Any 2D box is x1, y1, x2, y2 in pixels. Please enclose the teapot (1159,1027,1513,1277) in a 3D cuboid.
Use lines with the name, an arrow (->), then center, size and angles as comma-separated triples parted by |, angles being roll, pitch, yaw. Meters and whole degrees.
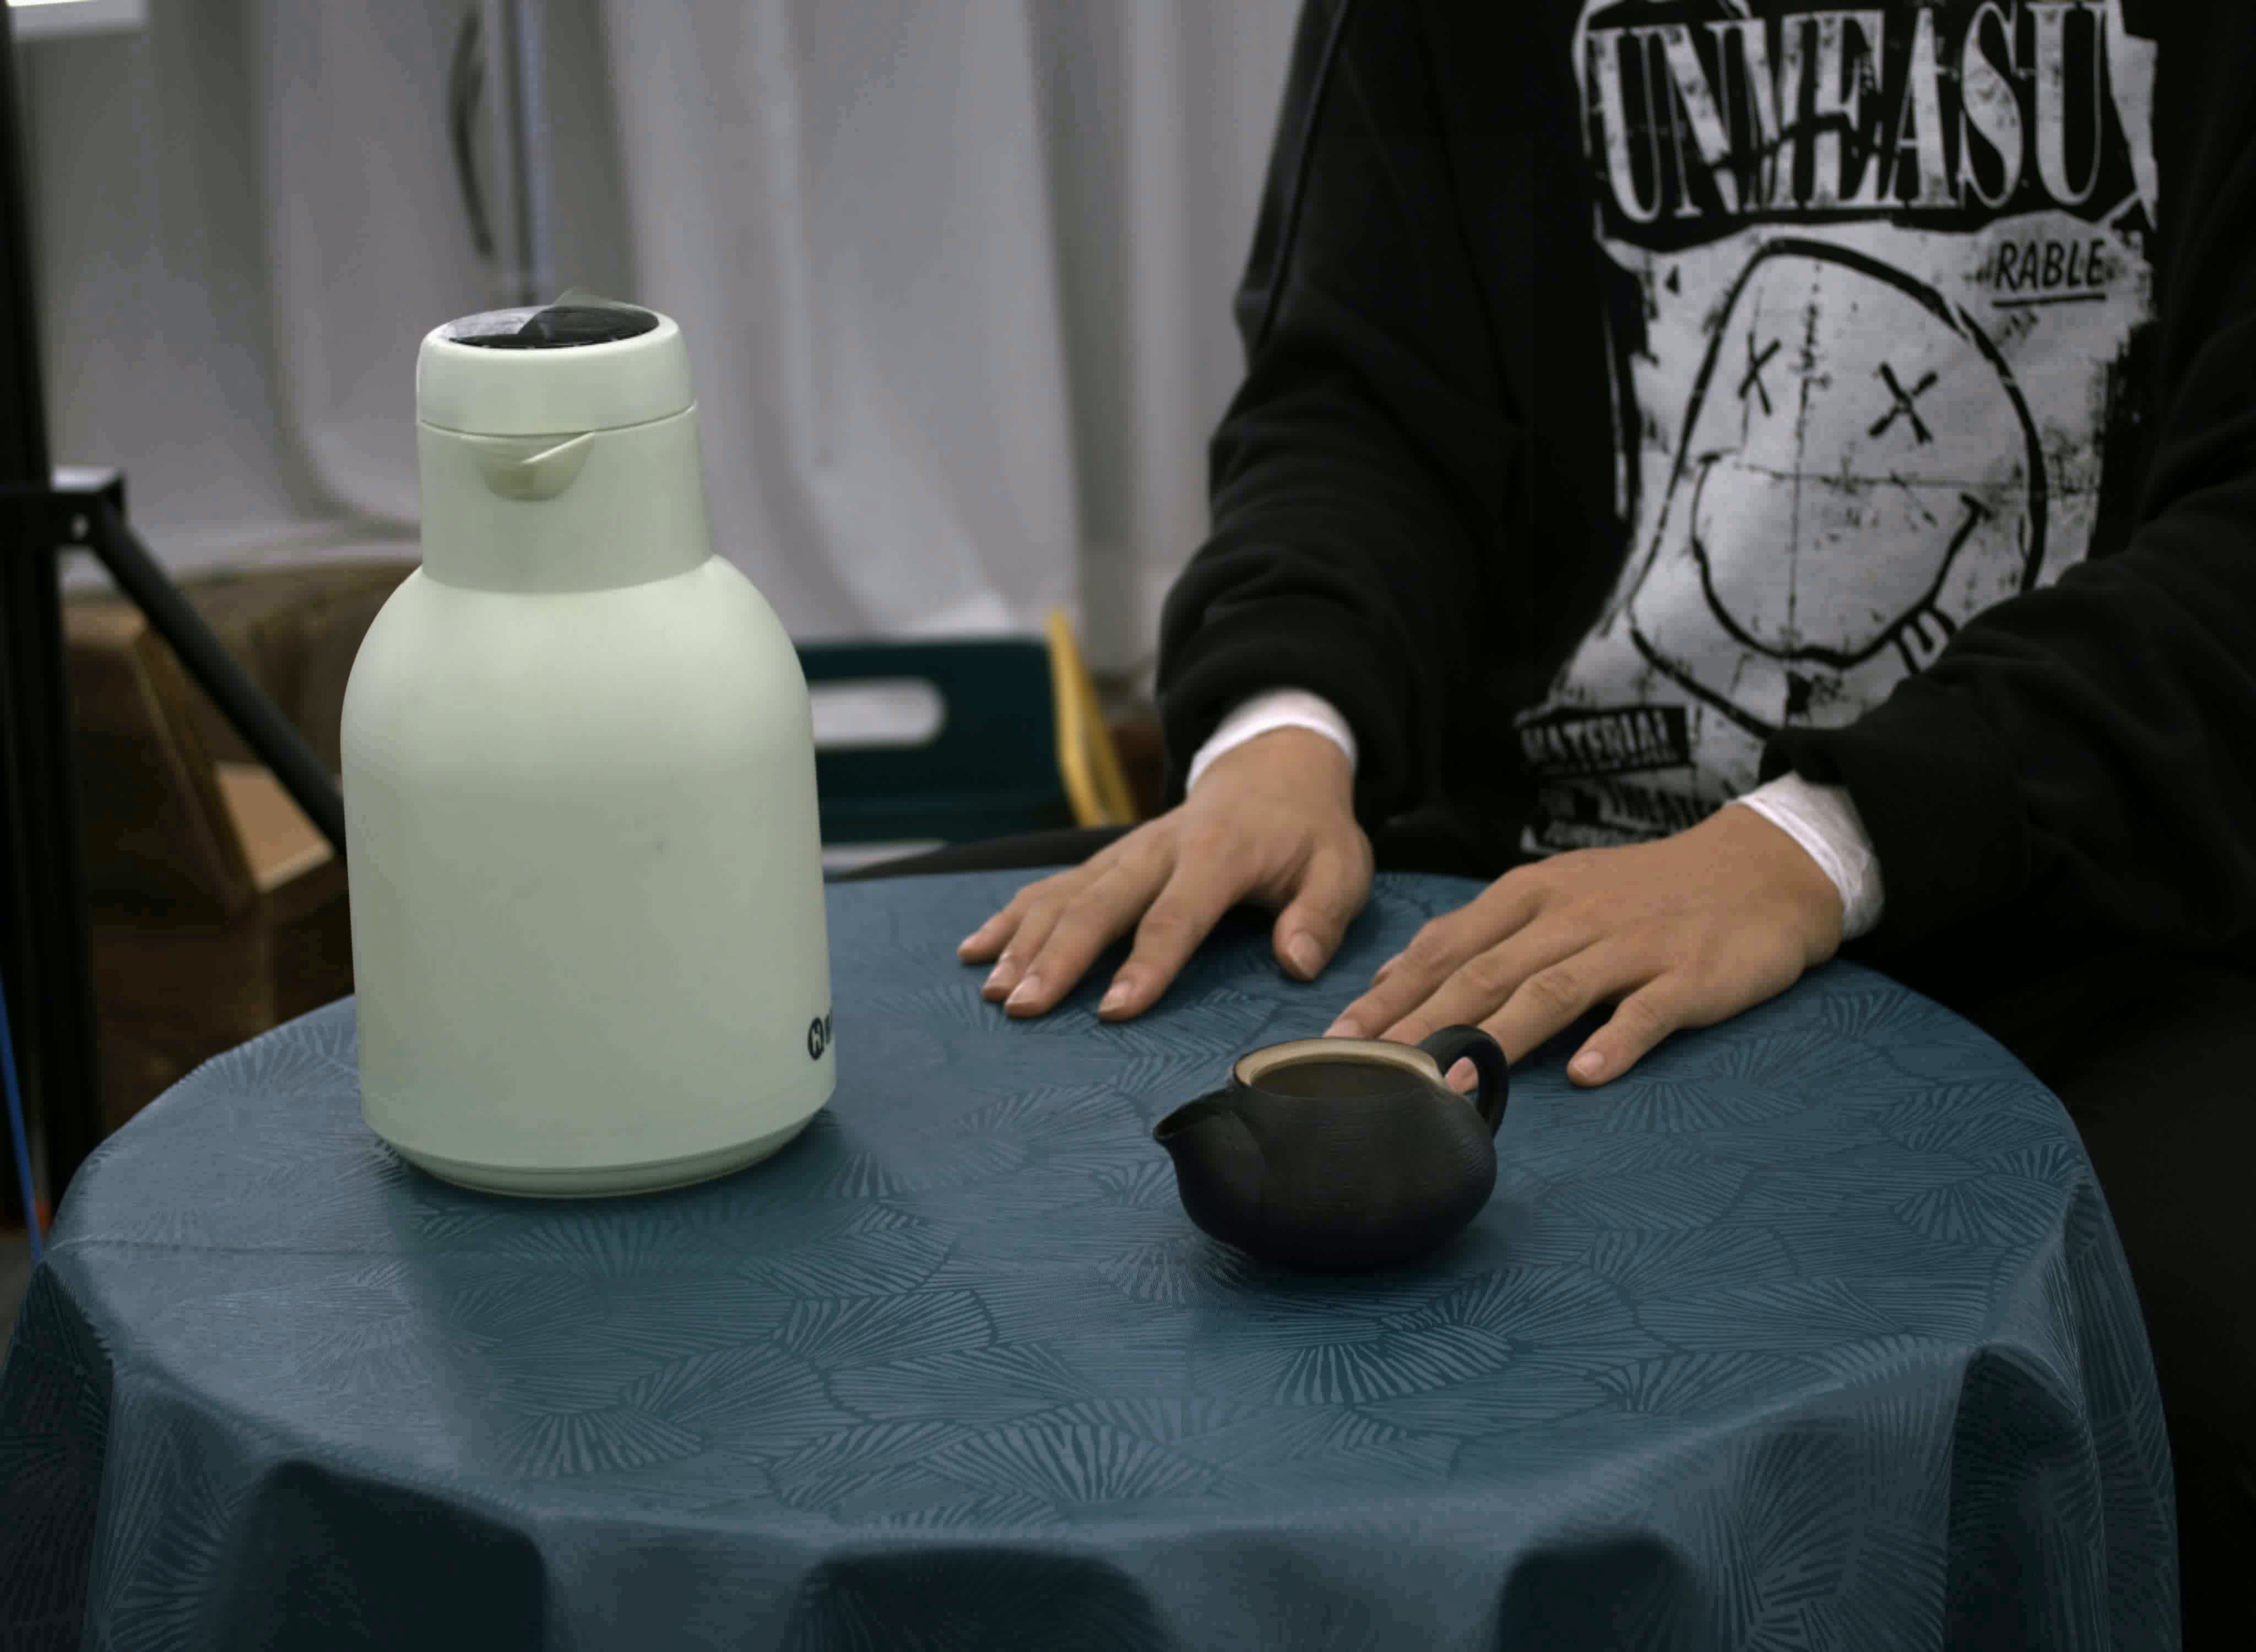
teapot -> 0.061, 0.093, 1.498 | 0.130, 0.053, 0.093 | -15, 22, -38

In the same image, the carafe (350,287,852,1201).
carafe -> -0.160, -0.029, 1.611 | 0.144, 0.257, 0.186 | -2, 11, 9
